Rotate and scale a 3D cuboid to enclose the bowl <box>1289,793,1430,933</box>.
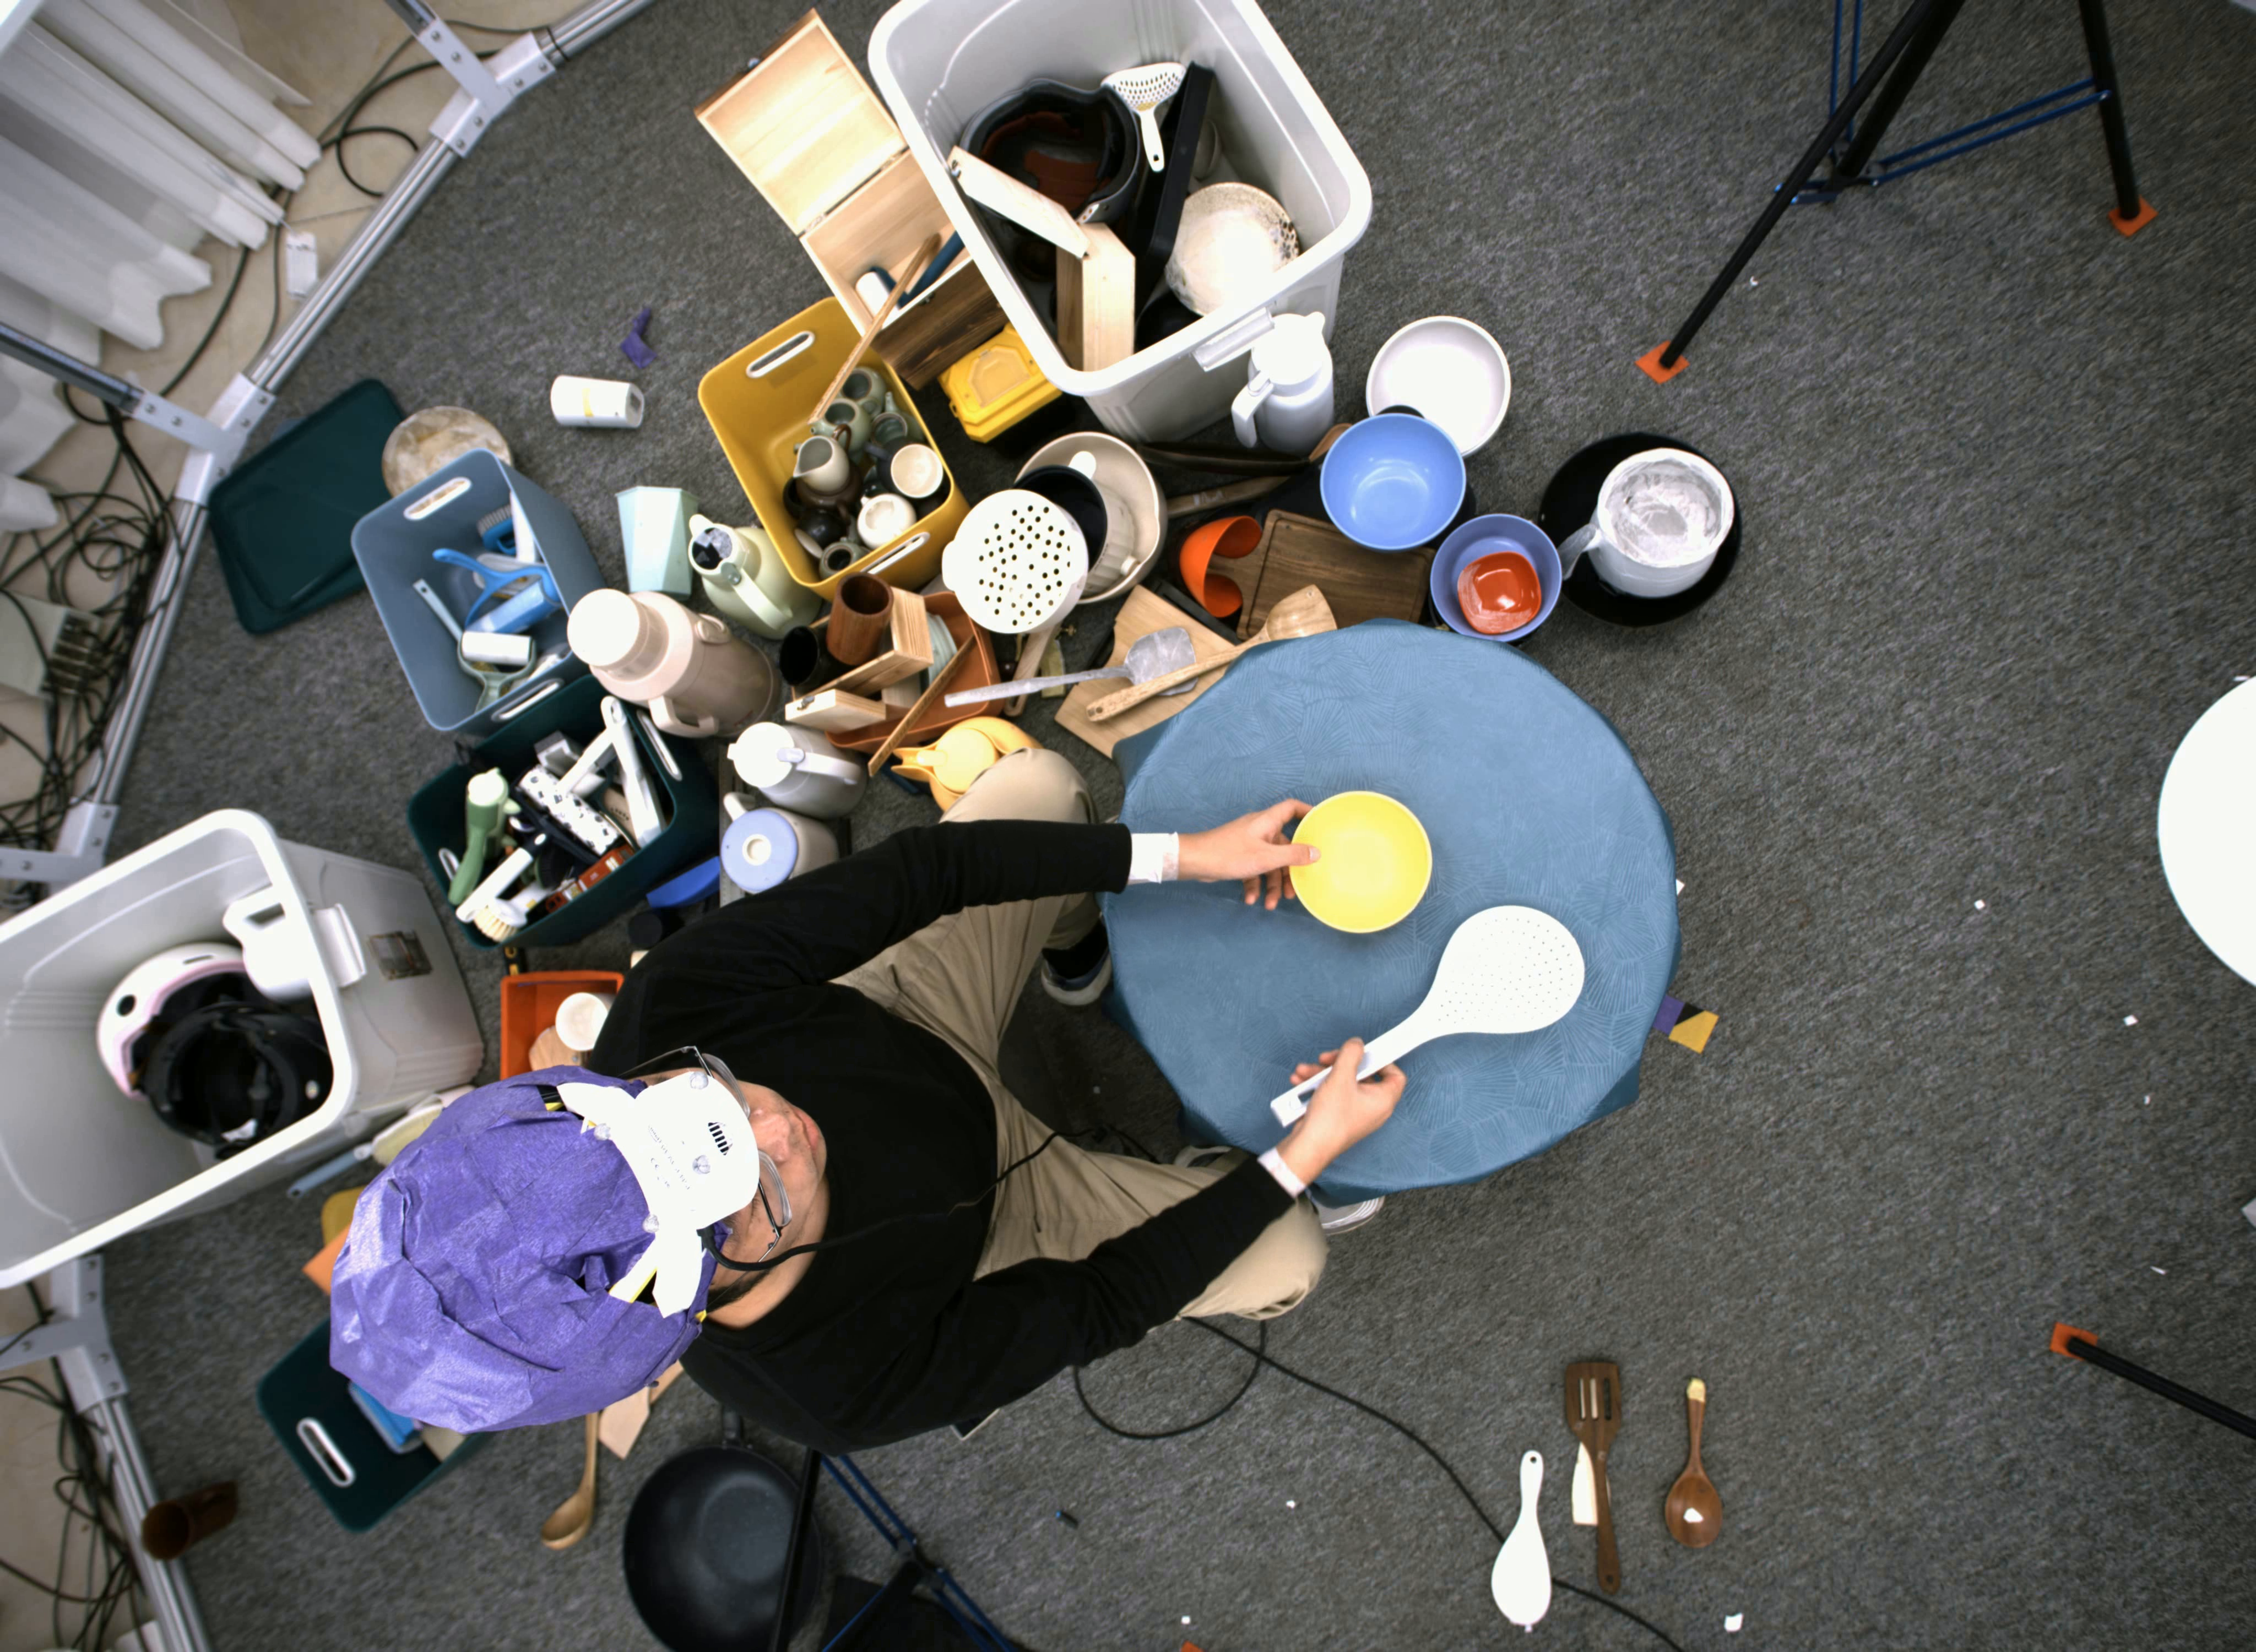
[{"bbox_3d":[0.241,0.040,1.439,0.146,0.060,0.144,-1,84,11],"label":"bowl"}]

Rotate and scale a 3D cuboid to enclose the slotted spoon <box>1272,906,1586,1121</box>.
[{"bbox_3d":[0.300,0.198,1.392,0.348,0.046,0.134,-28,62,-6],"label":"slotted spoon"}]
